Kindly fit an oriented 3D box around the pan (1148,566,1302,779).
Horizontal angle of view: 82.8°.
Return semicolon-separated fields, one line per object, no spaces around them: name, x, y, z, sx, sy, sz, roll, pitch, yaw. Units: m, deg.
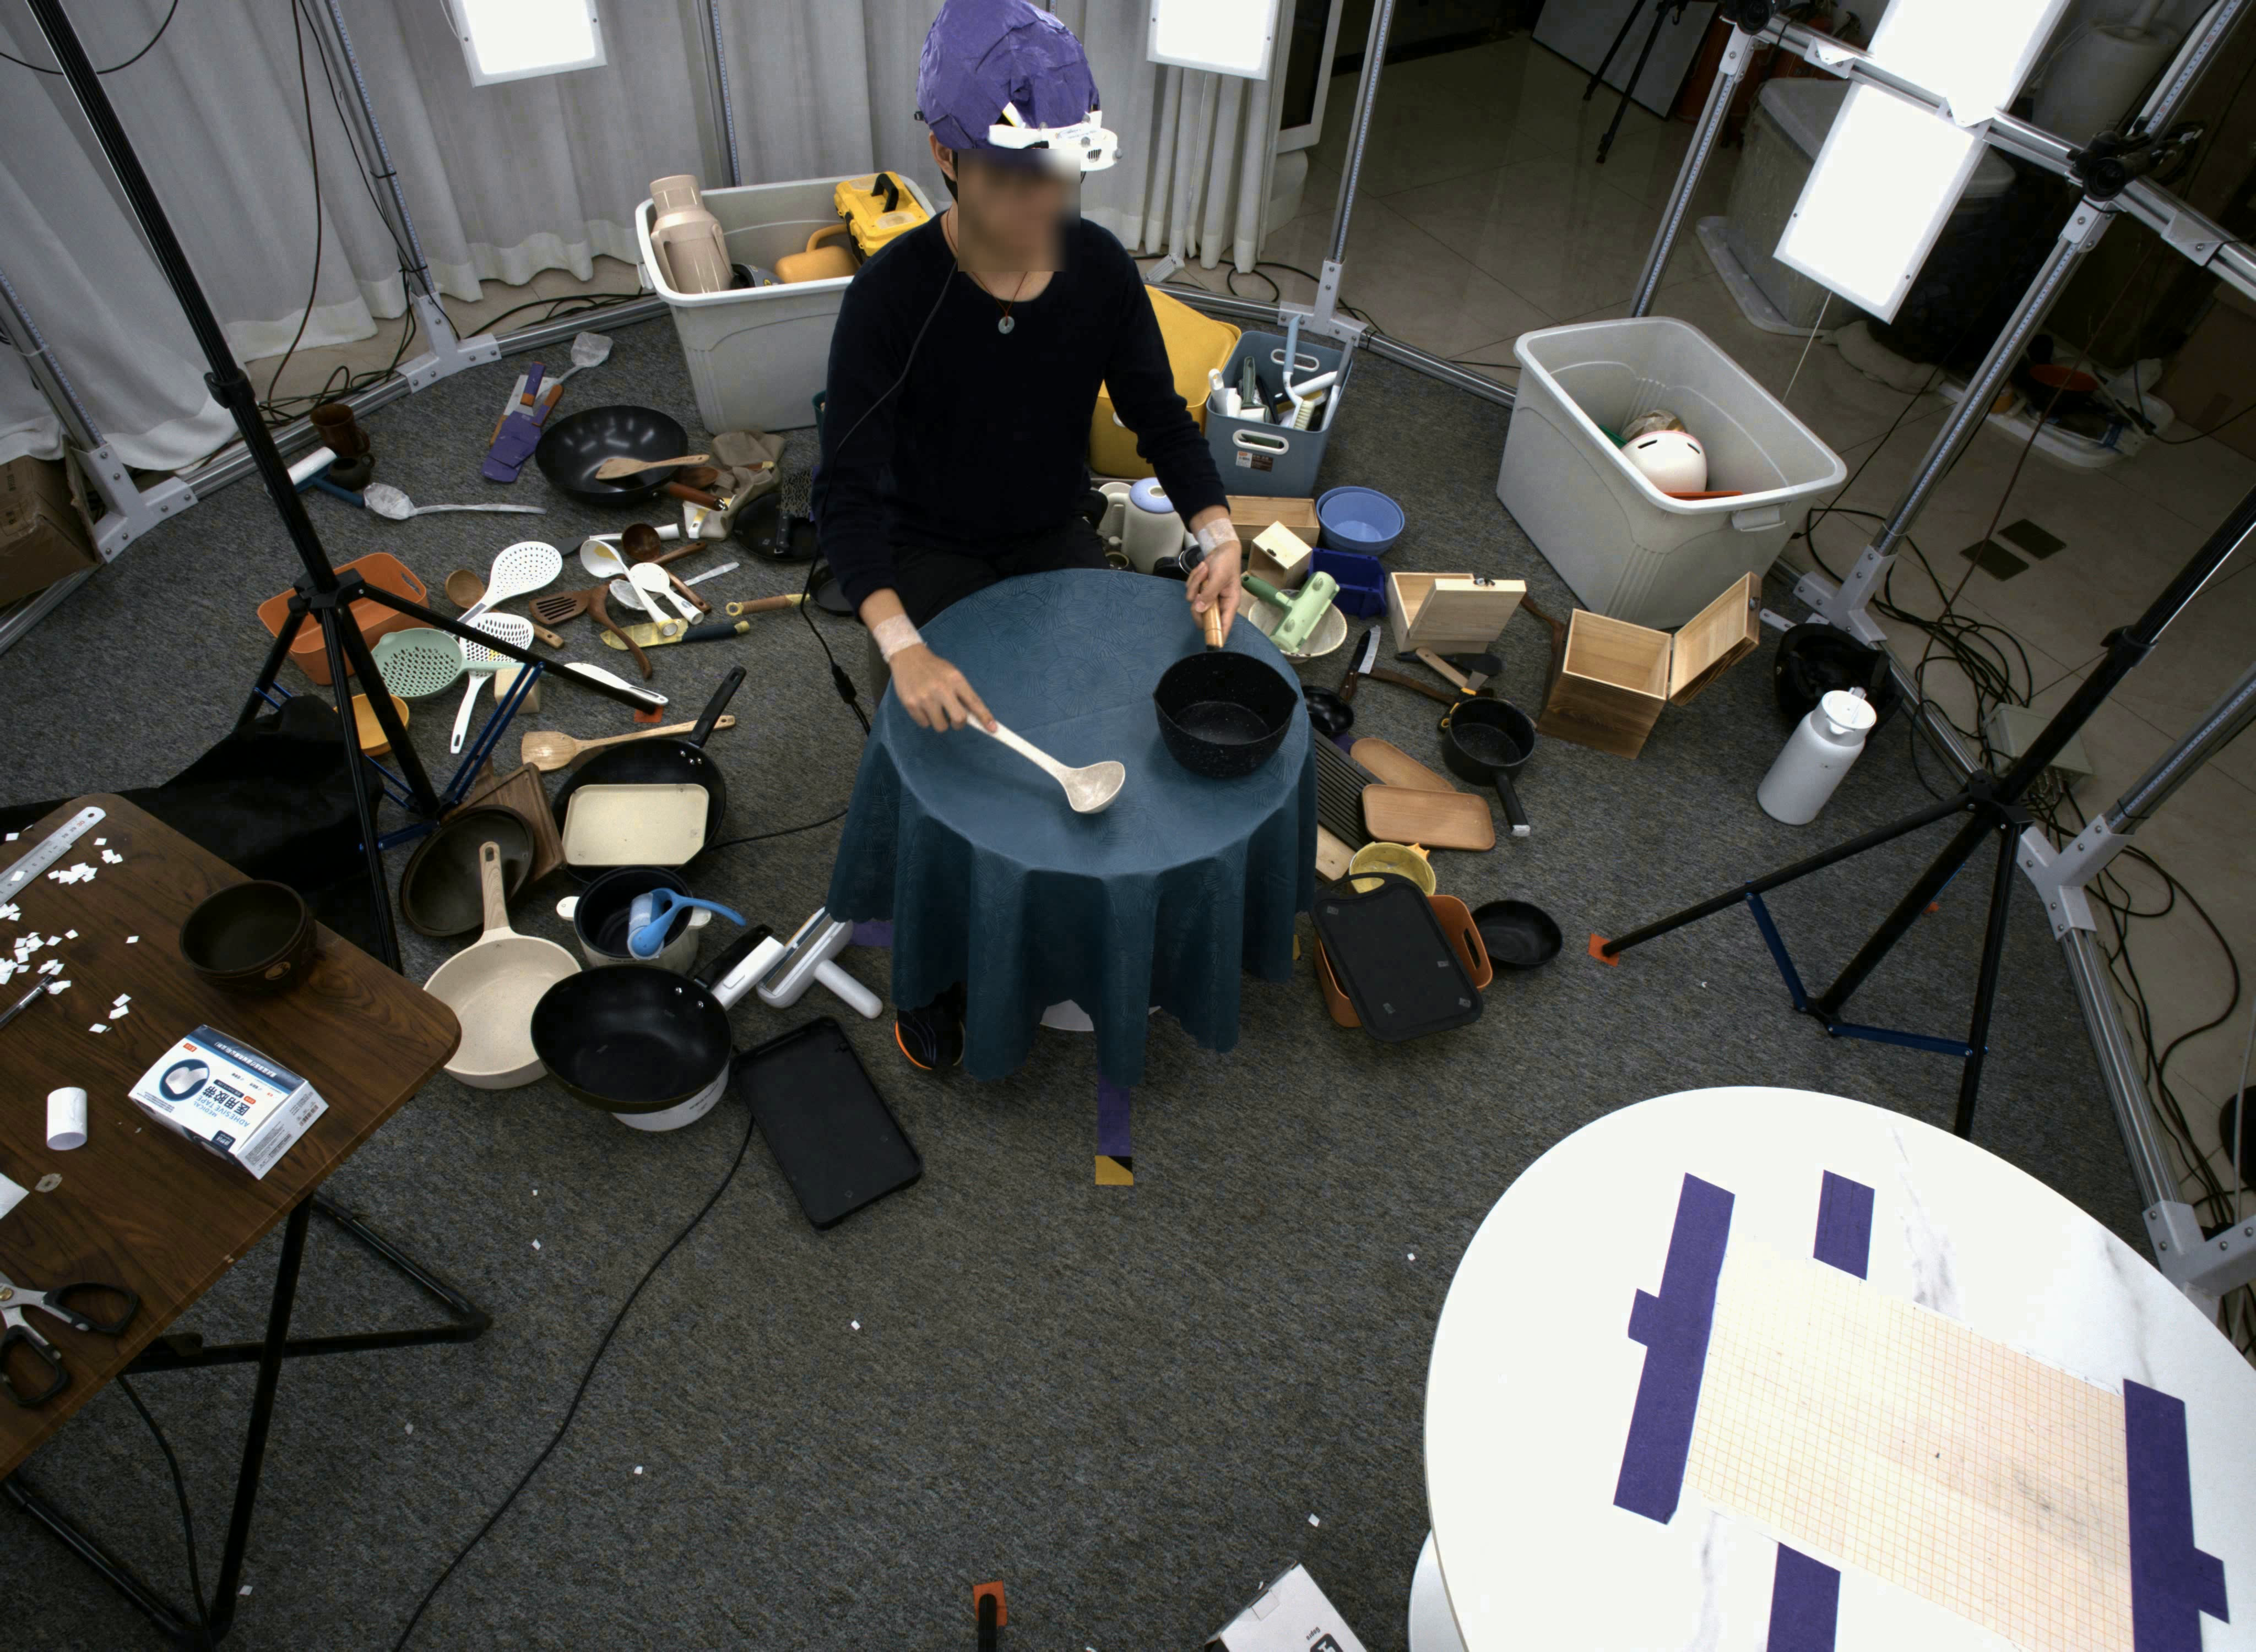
pan;0.122;-0.215;1.795;0.207;0.105;0.351;-3;49;-5

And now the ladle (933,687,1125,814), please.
ladle;-0.130;-0.112;1.650;0.275;0.068;0.090;34;65;0
